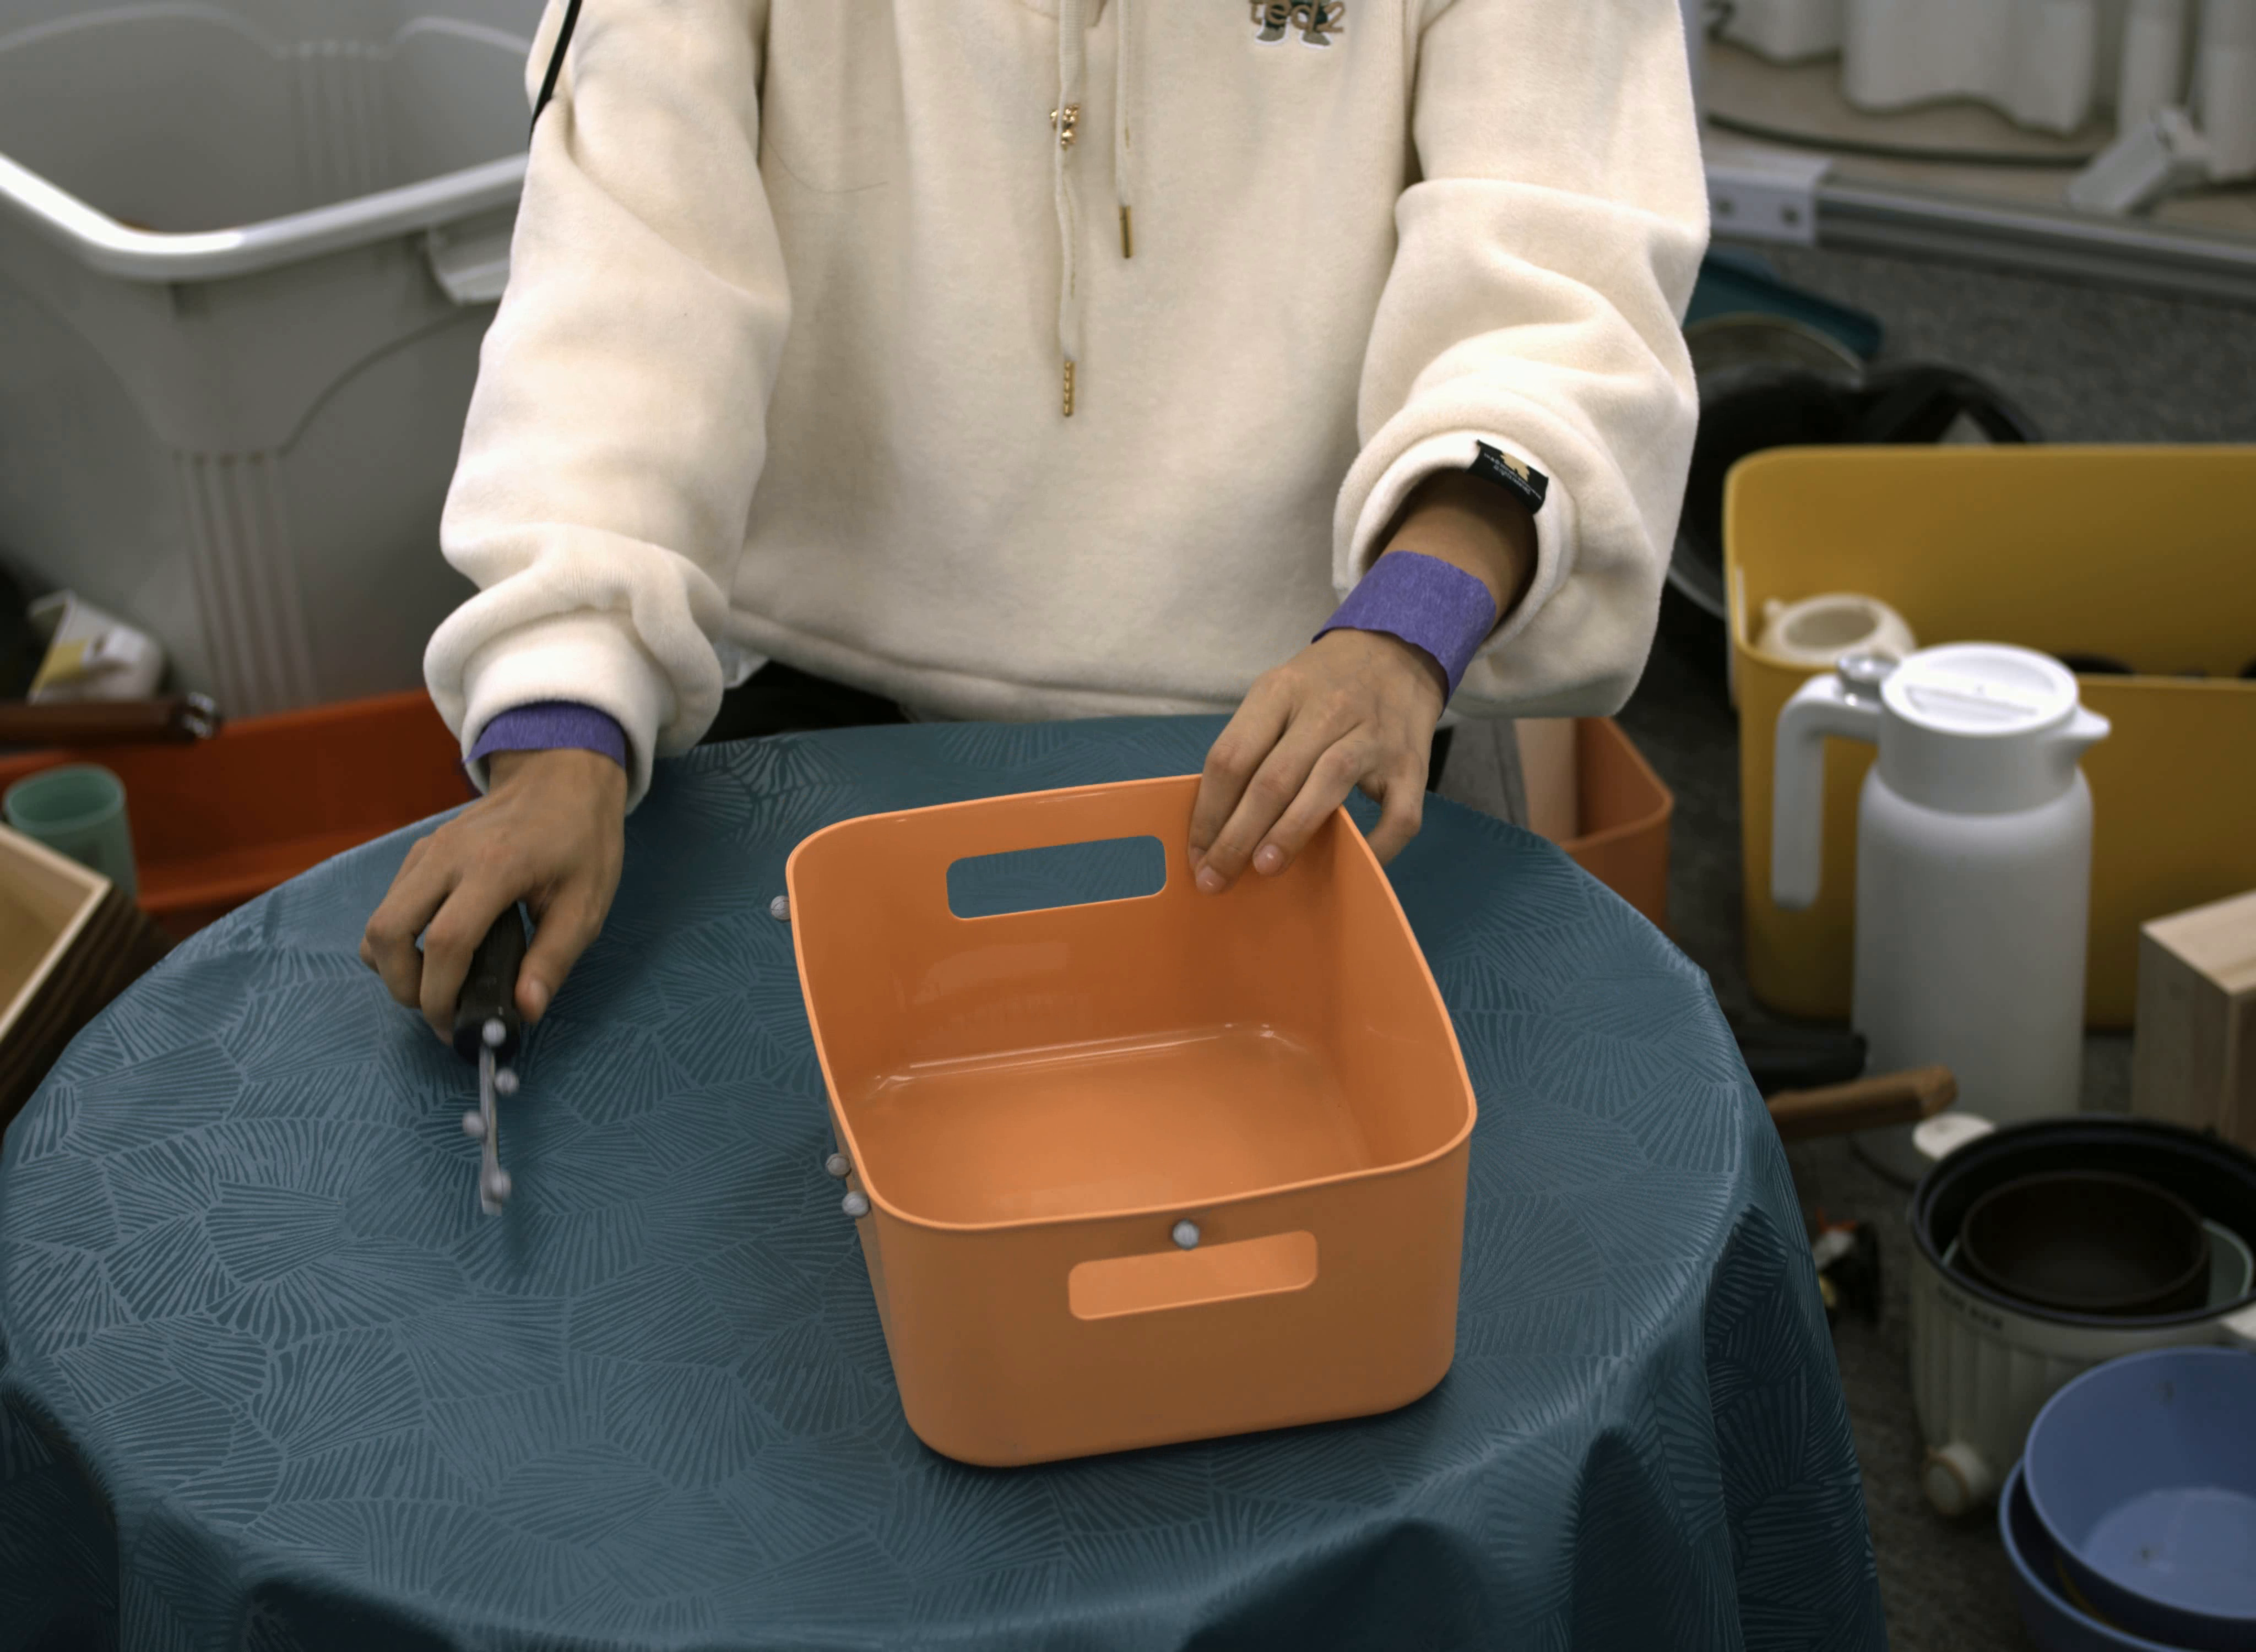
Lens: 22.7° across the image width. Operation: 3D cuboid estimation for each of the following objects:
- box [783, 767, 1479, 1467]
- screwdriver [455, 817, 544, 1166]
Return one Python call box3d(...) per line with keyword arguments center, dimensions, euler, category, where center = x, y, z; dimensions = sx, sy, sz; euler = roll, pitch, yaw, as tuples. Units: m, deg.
box3d(center=(0.000, 0.092, 1.806), dimensions=(0.199, 0.101, 0.276), euler=(-8, 28, -8), category="box")
box3d(center=(-0.210, 0.058, 1.920), dimensions=(0.031, 0.031, 0.201), euler=(-6, 35, -7), category="screwdriver")
